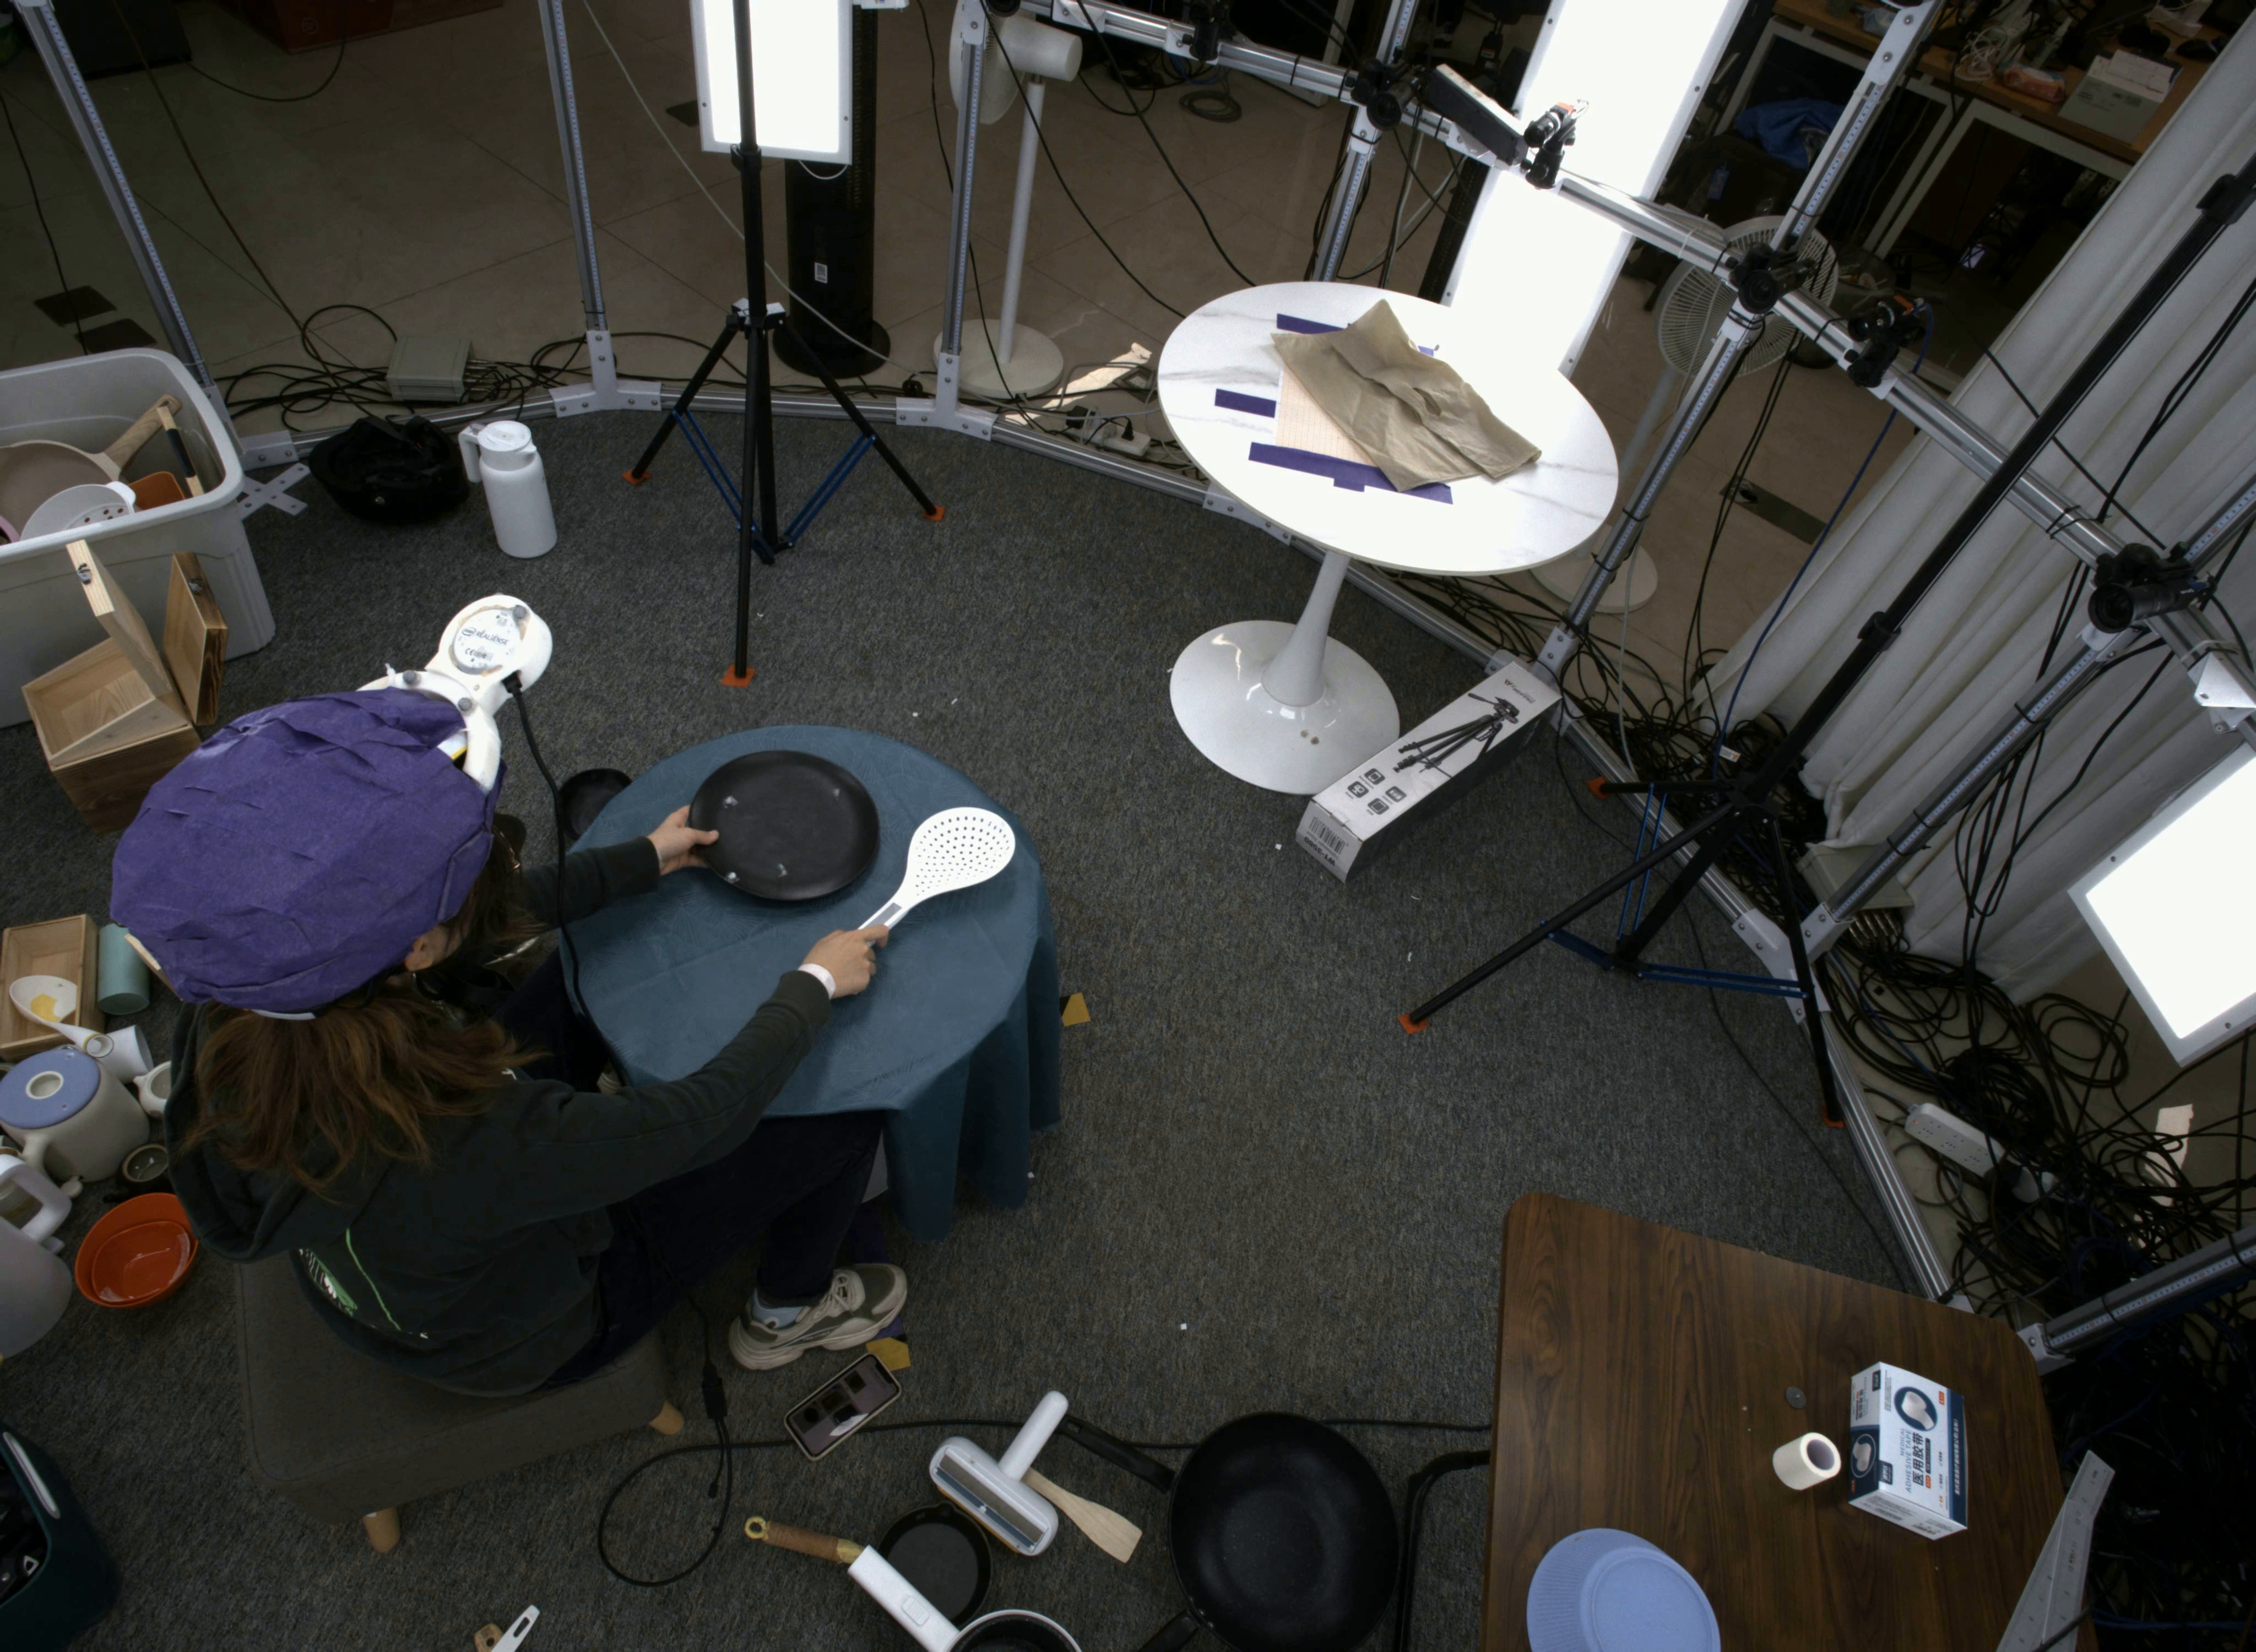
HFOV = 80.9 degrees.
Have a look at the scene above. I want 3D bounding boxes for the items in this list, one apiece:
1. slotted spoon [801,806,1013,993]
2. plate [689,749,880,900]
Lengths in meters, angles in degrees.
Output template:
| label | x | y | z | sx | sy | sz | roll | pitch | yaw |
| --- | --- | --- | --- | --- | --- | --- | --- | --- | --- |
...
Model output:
| label | x | y | z | sx | sy | sz | roll | pitch | yaw |
| --- | --- | --- | --- | --- | --- | --- | --- | --- | --- |
| slotted spoon | -0.282 | 0.090 | 1.658 | 0.132 | 0.047 | 0.350 | 29 | 48 | 23 |
| plate | -0.449 | -0.001 | 1.696 | 0.245 | 0.024 | 0.240 | 12 | 51 | -13 |
